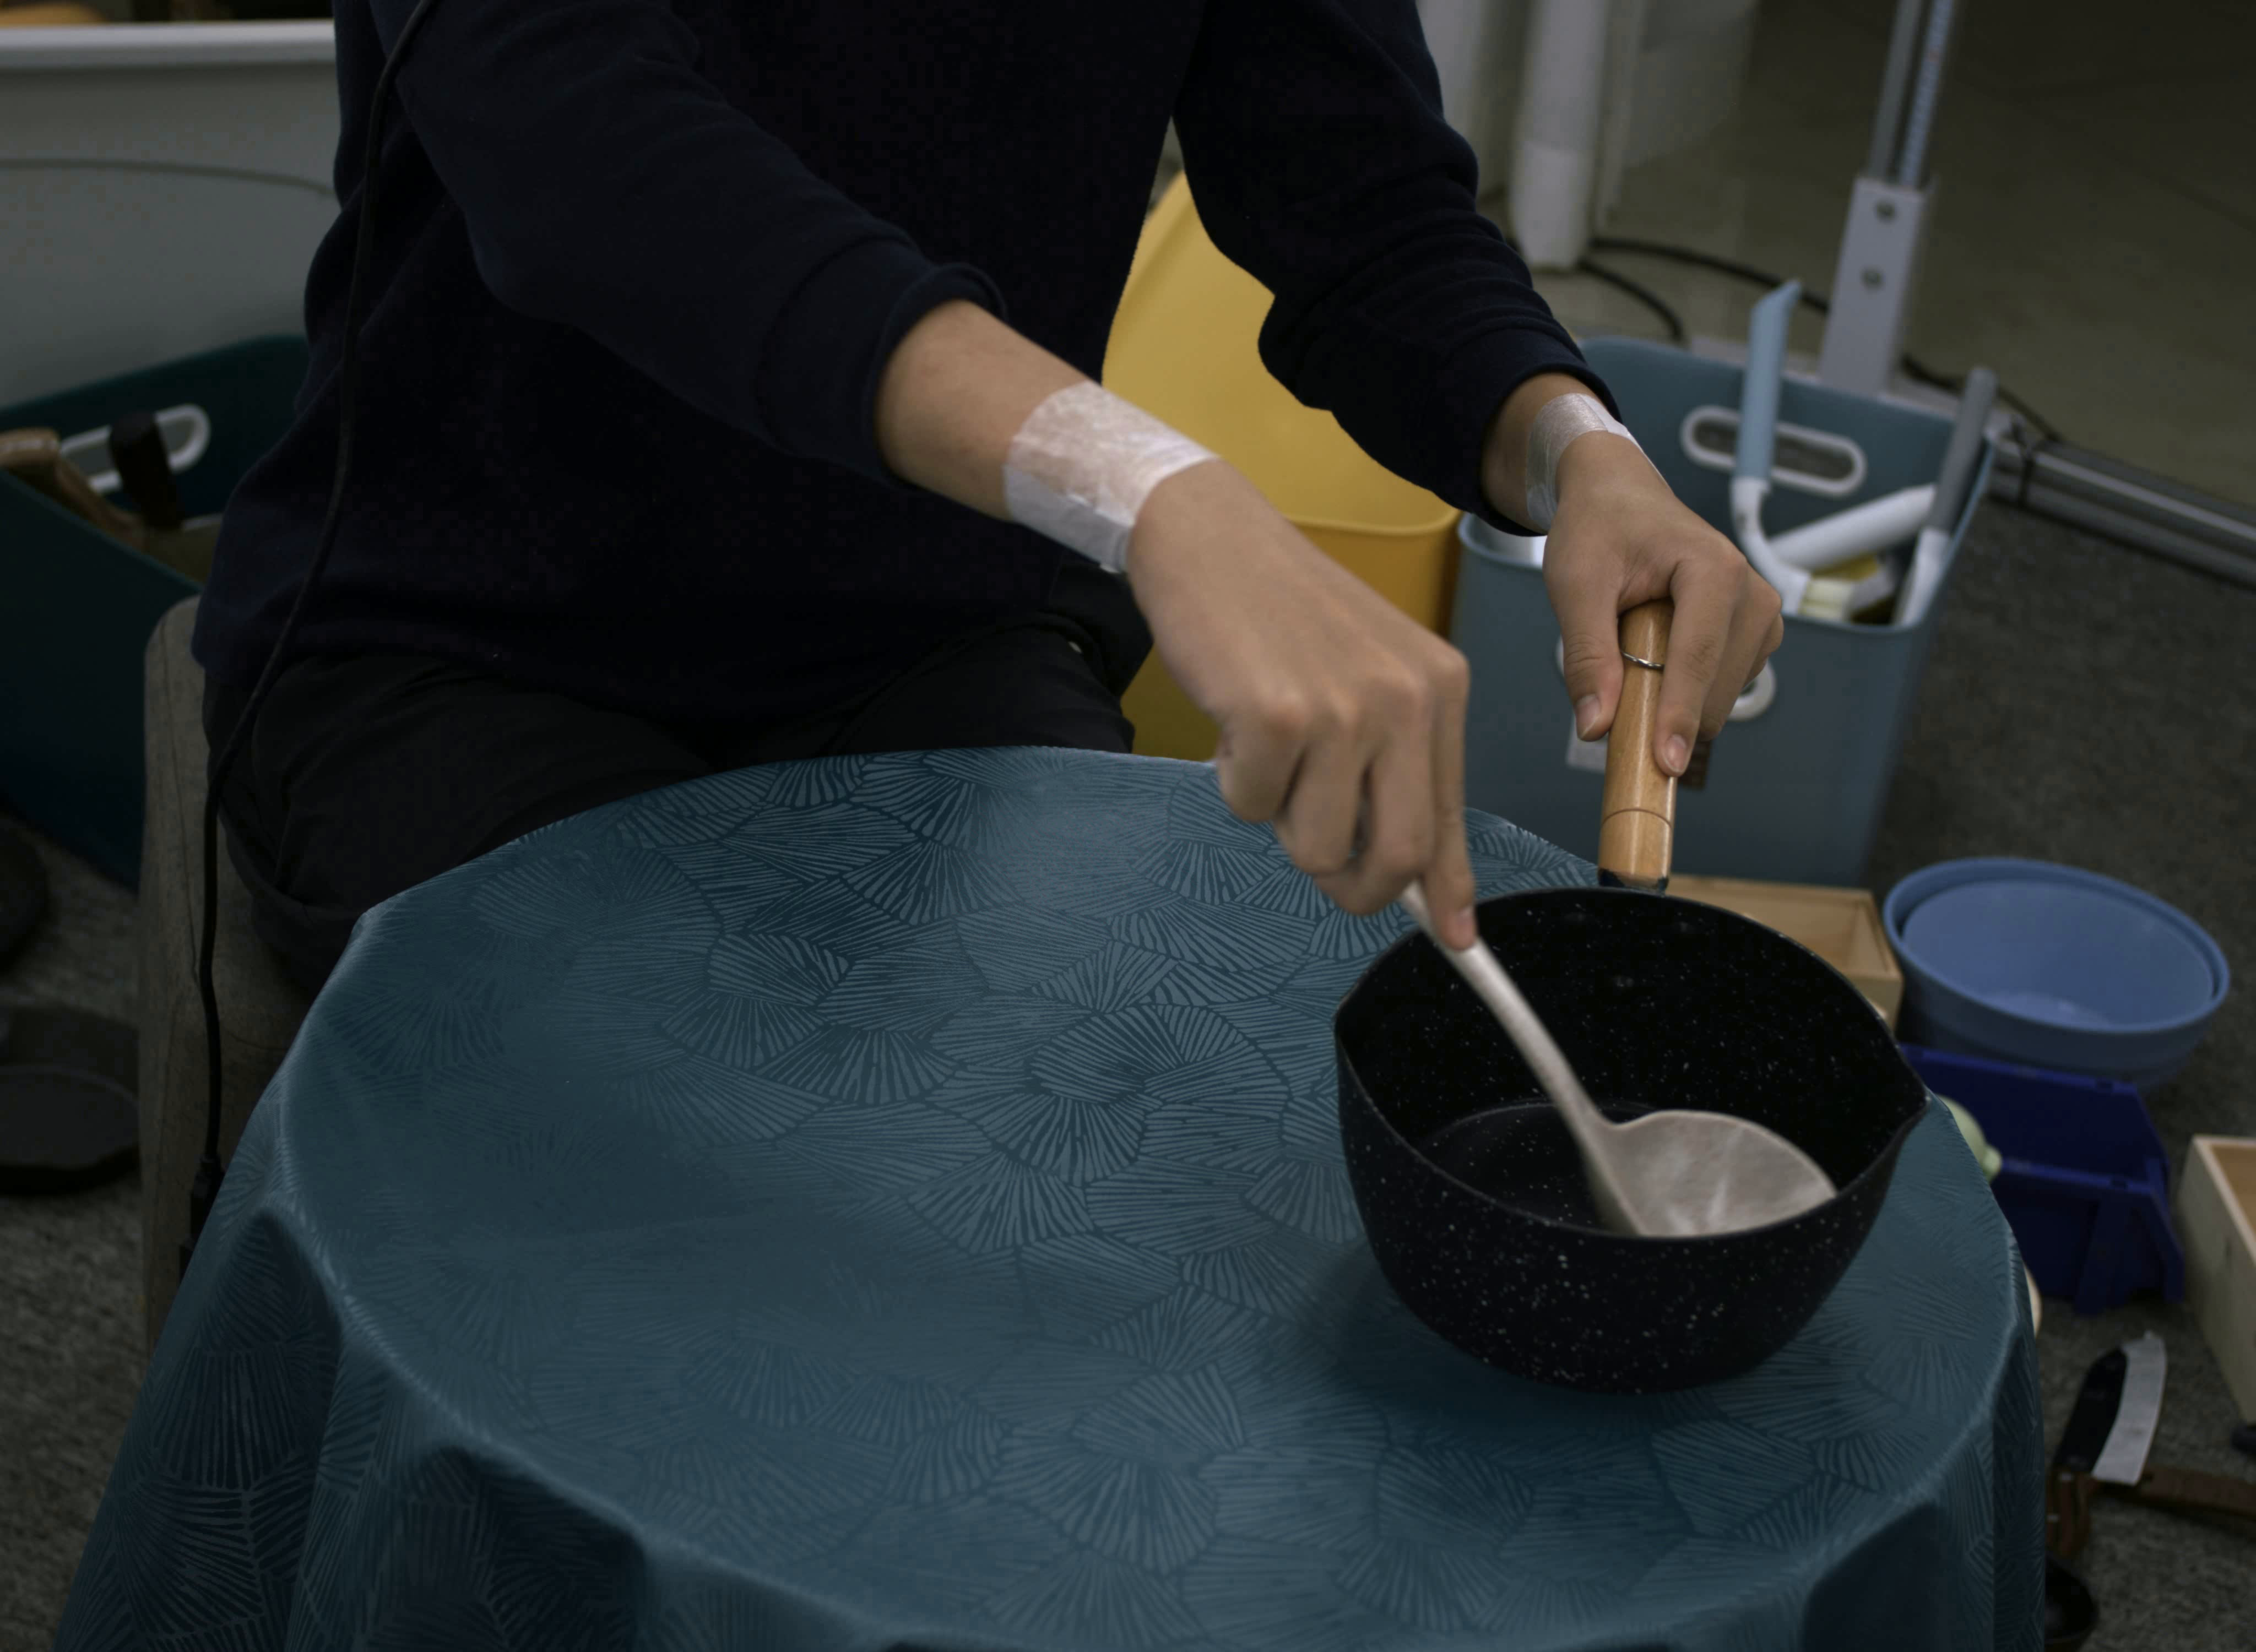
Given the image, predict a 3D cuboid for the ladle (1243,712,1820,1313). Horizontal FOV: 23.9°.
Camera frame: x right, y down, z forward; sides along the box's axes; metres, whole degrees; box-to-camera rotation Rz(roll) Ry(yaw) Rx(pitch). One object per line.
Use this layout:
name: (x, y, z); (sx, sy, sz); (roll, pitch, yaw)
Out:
ladle: (0.132, 0.051, 1.667); (0.069, 0.272, 0.090); (-22, 34, 22)

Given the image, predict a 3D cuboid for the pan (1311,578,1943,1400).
pan: (0.167, 0.052, 1.813); (0.207, 0.107, 0.345); (5, 37, 3)
